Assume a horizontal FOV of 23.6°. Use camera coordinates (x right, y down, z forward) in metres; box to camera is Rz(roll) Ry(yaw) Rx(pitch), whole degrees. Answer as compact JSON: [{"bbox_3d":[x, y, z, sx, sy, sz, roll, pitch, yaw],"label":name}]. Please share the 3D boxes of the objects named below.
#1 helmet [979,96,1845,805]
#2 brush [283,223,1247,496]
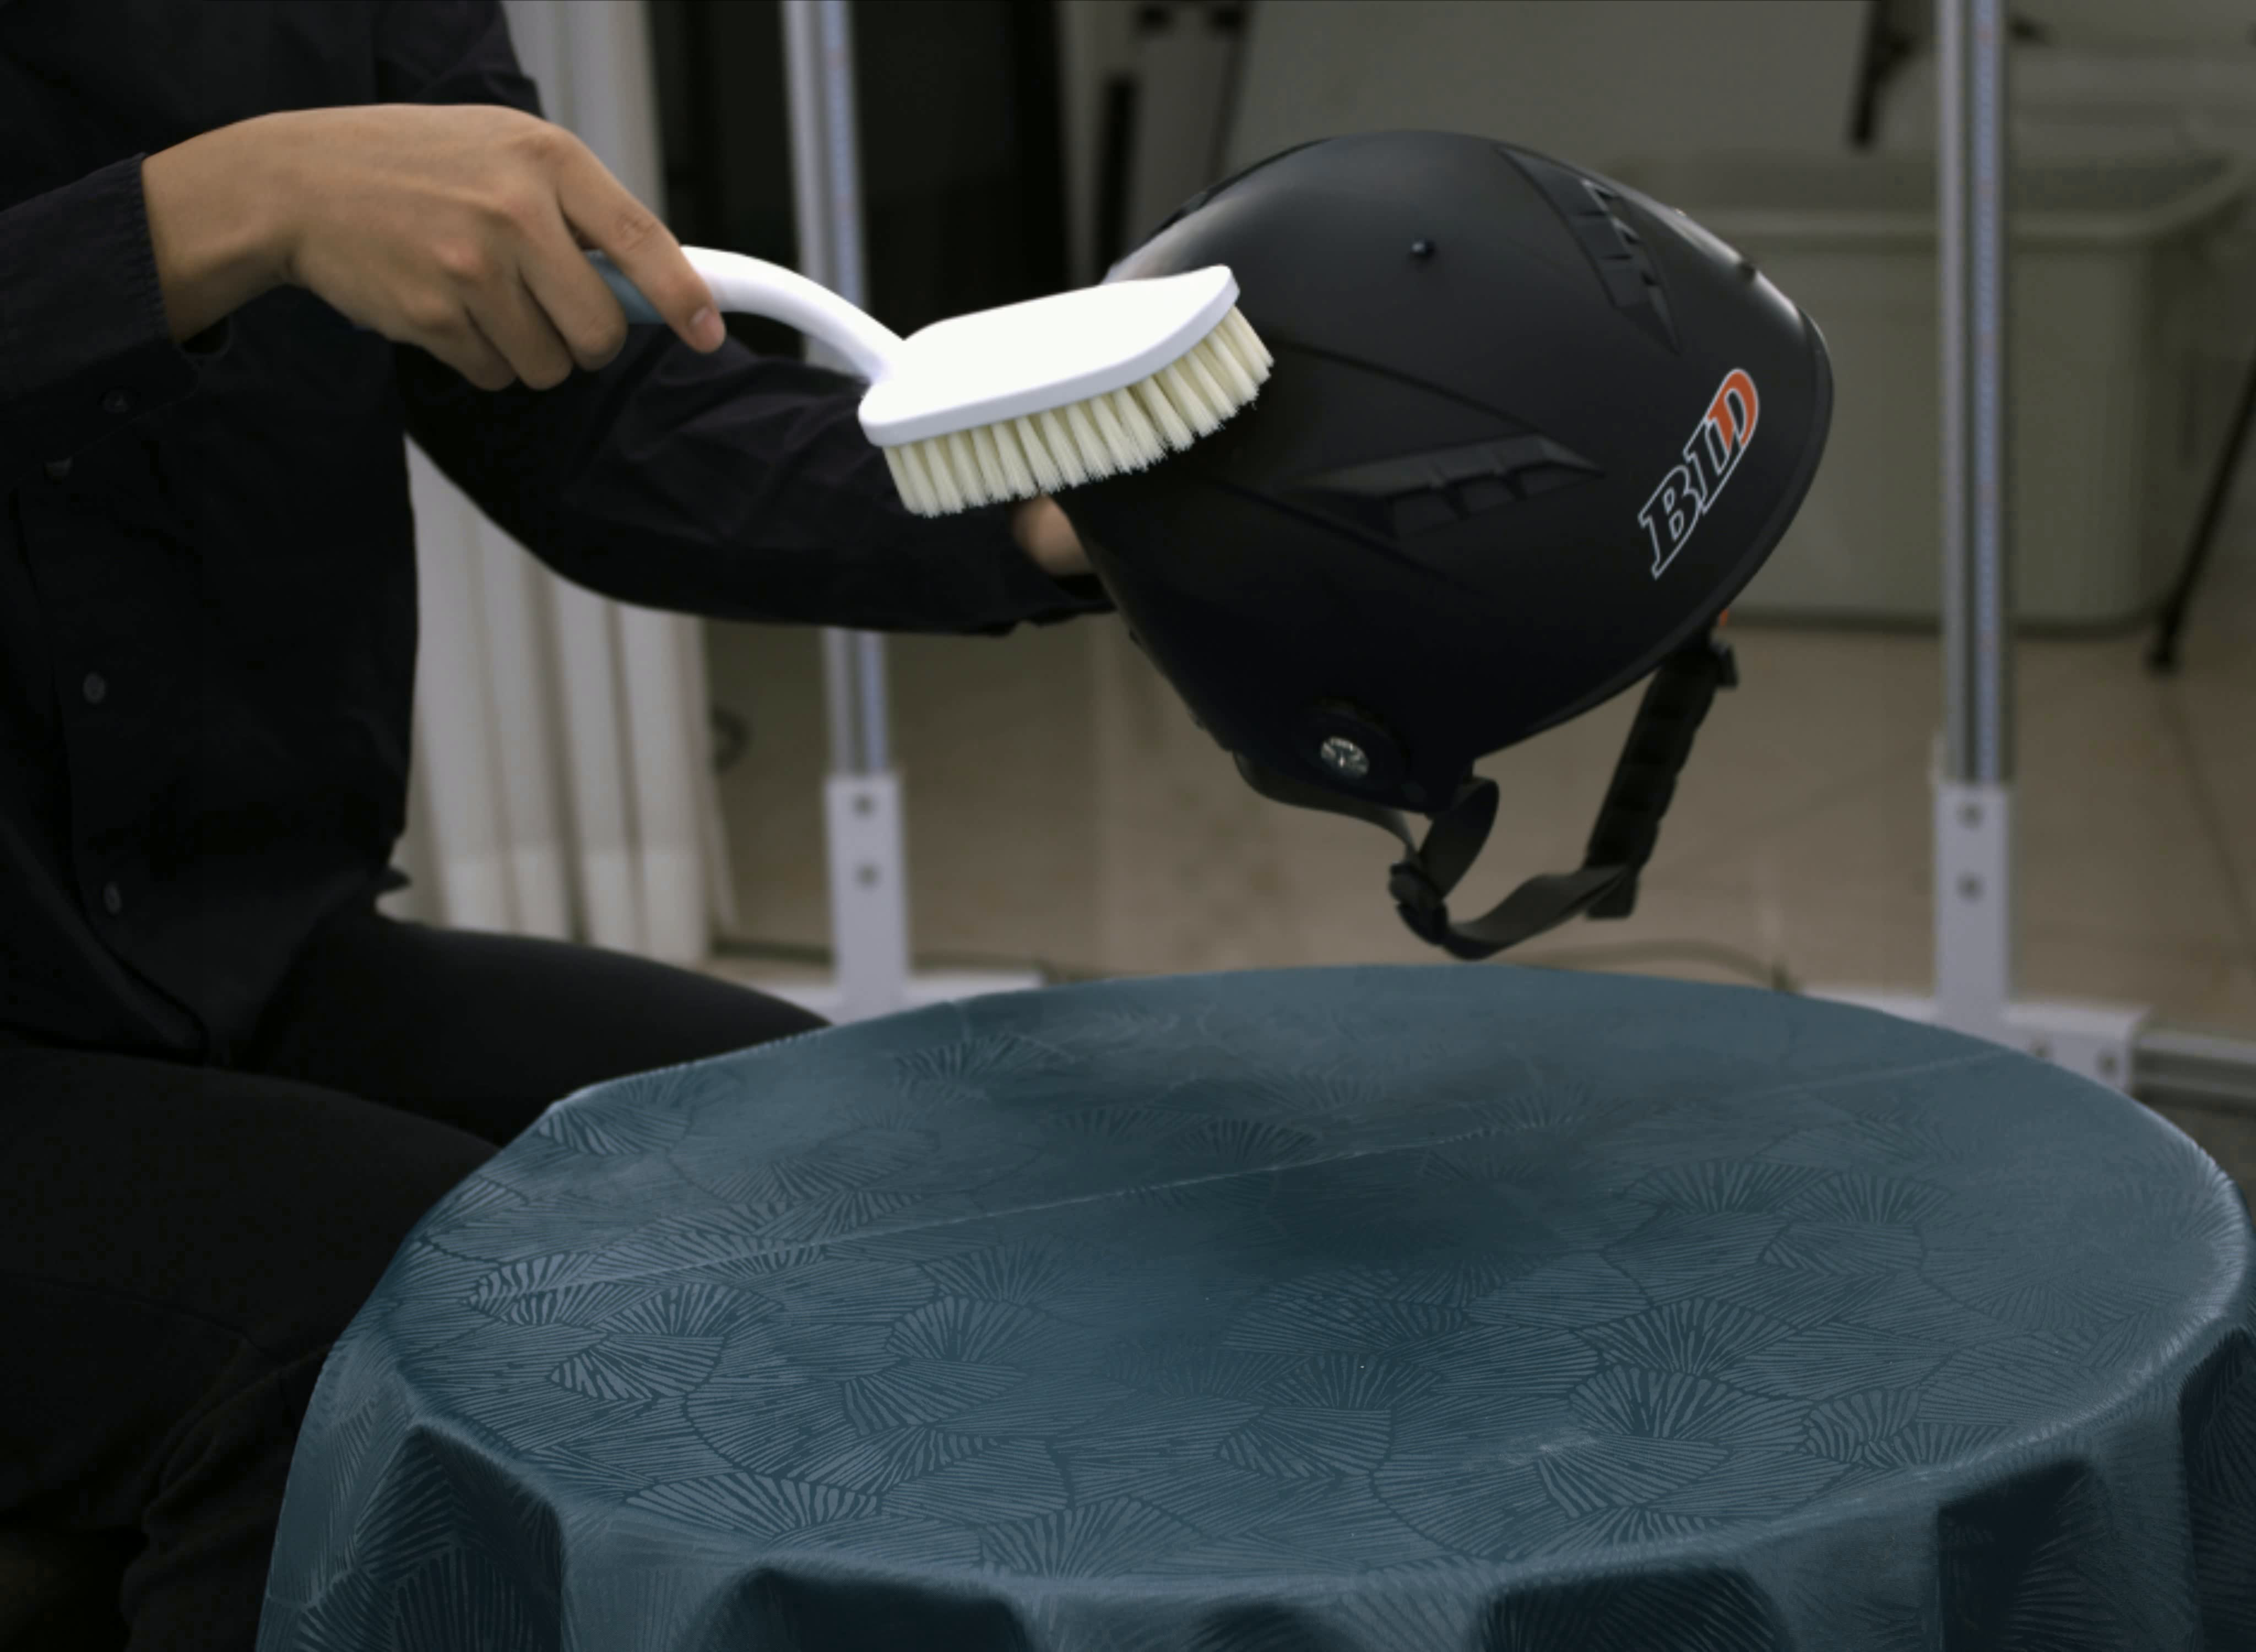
[{"bbox_3d":[0.082,-0.142,1.752,0.279,0.170,0.247,7,58,54],"label":"helmet"},{"bbox_3d":[-0.115,-0.146,1.732,0.325,0.085,0.082,1,-3,20],"label":"brush"}]
